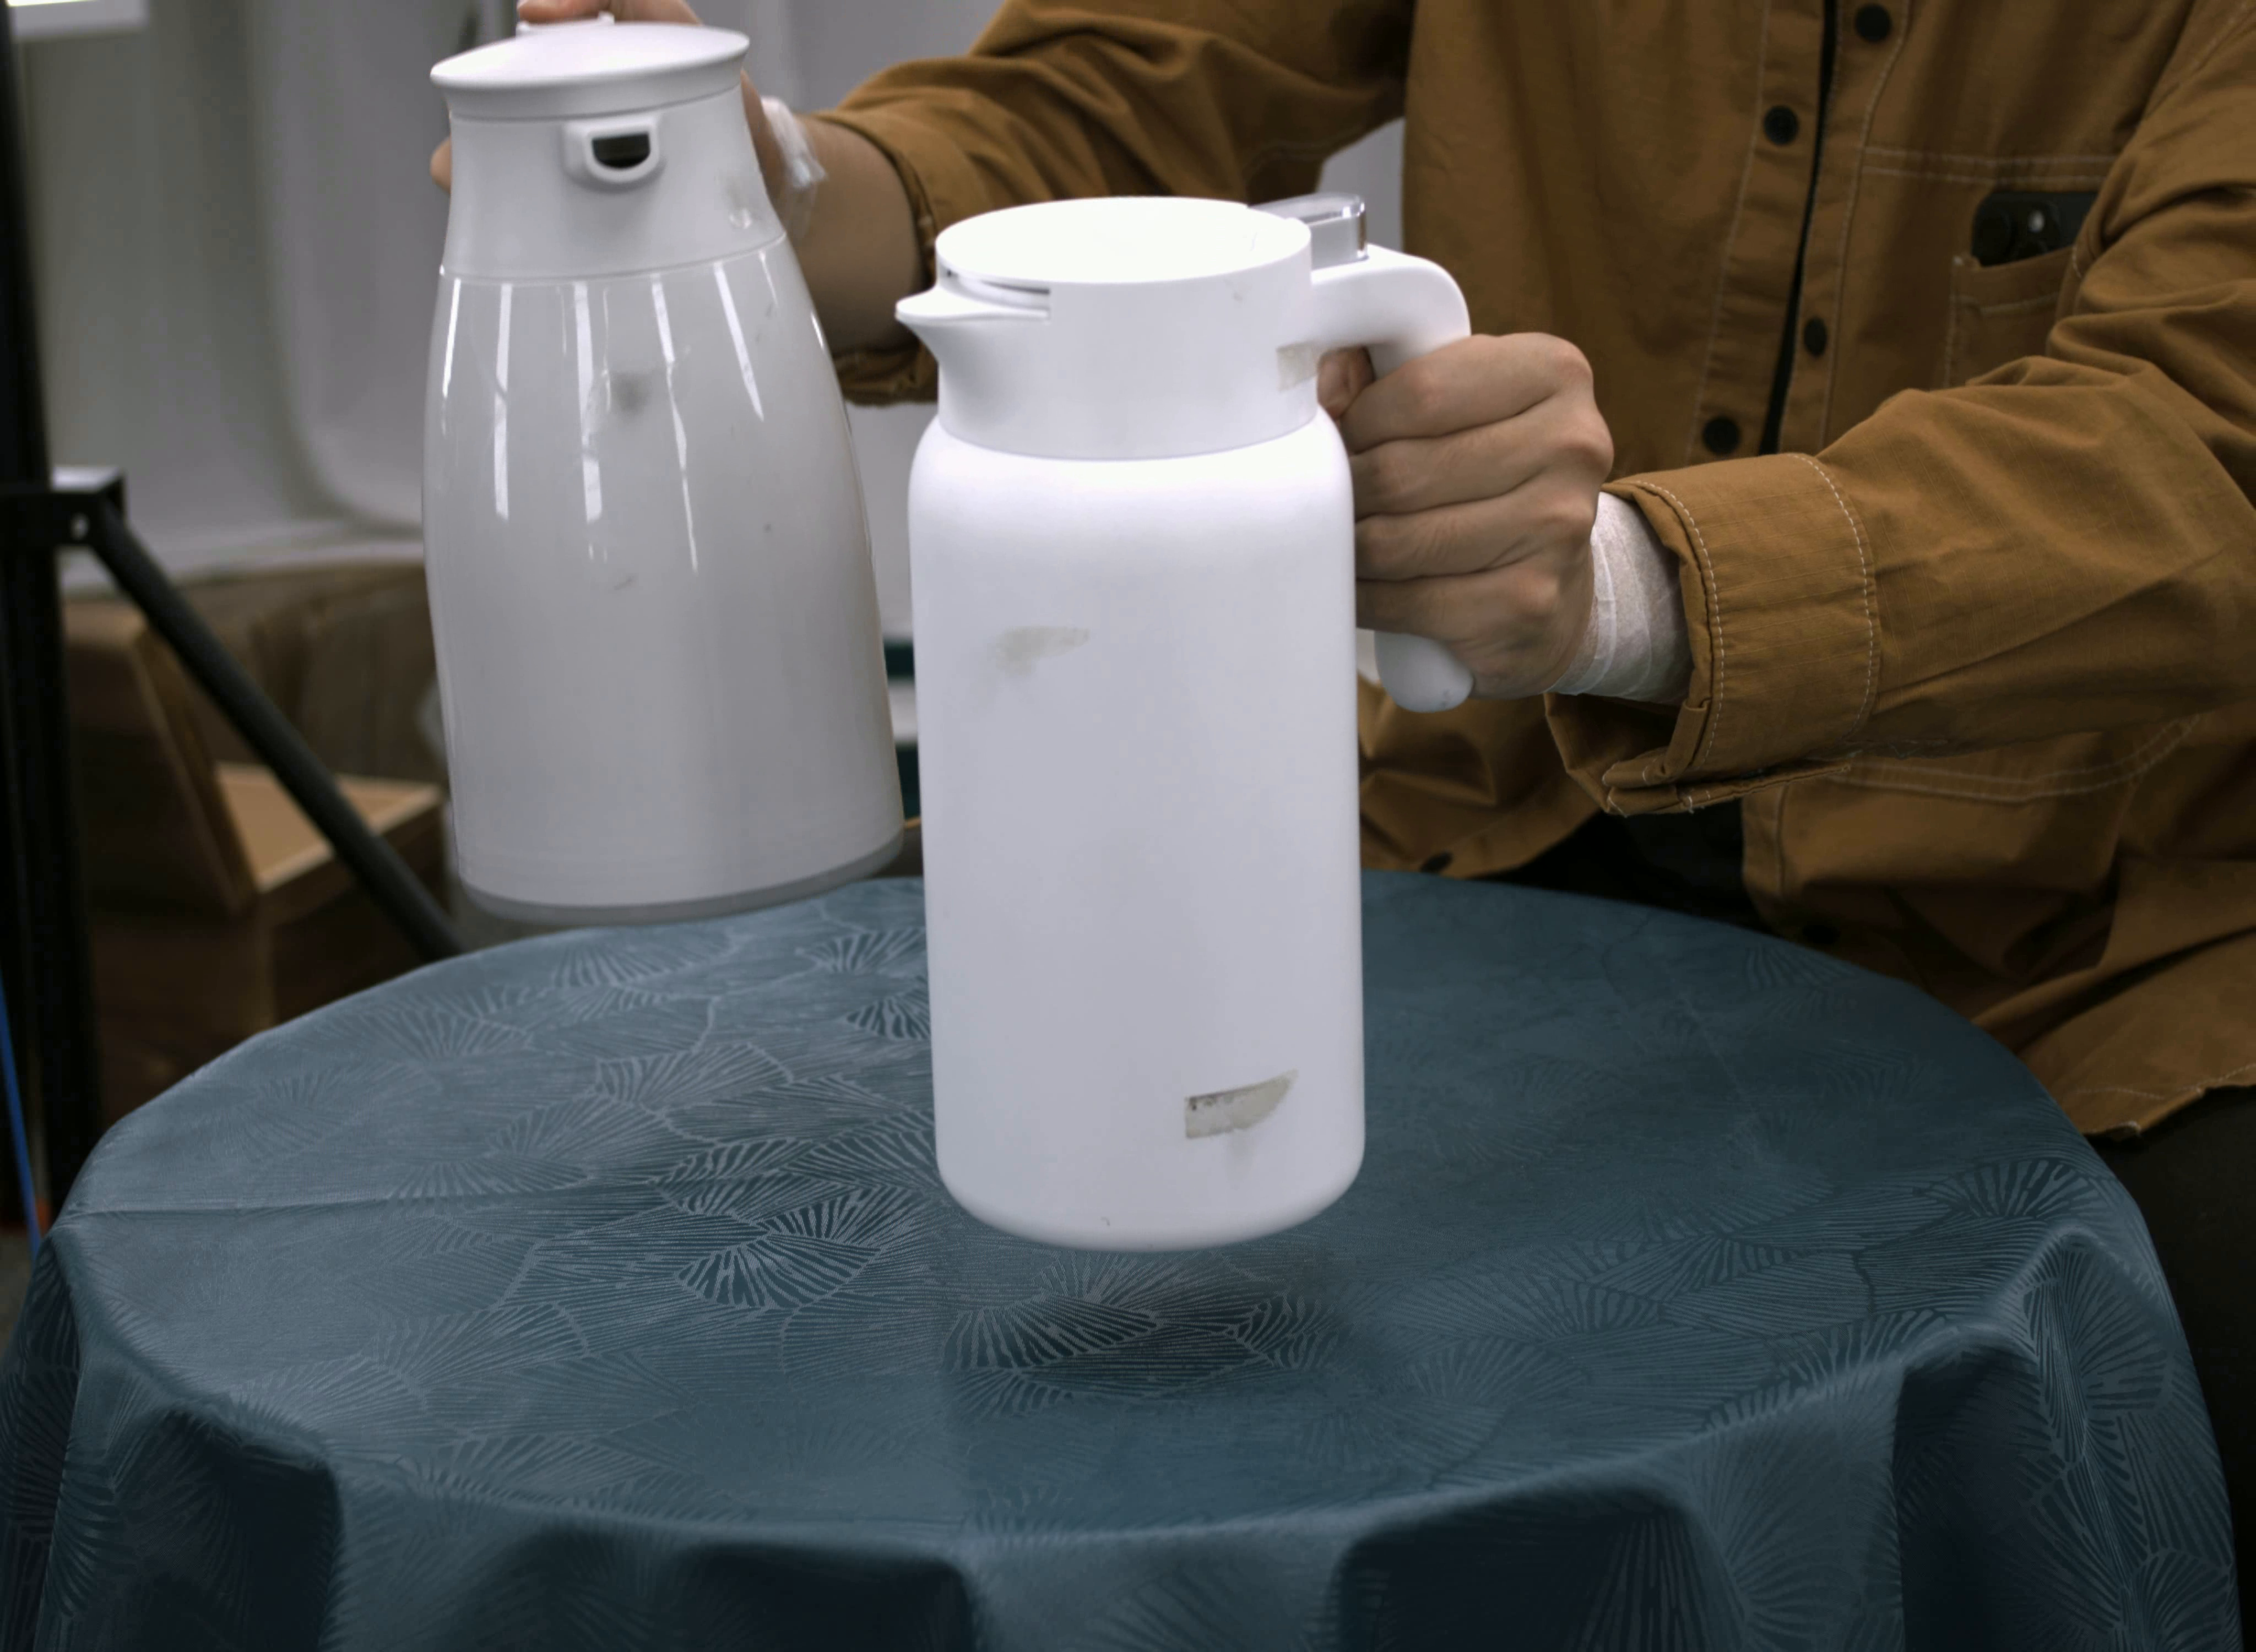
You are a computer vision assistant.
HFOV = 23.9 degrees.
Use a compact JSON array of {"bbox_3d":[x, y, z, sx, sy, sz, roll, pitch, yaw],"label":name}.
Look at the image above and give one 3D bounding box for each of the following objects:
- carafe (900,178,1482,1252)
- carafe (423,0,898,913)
[{"bbox_3d":[0.017,-0.033,1.410,0.169,0.269,0.126,-13,19,-31],"label":"carafe"},{"bbox_3d":[-0.147,-0.116,1.563,0.131,0.248,0.170,-7,14,-10],"label":"carafe"}]
